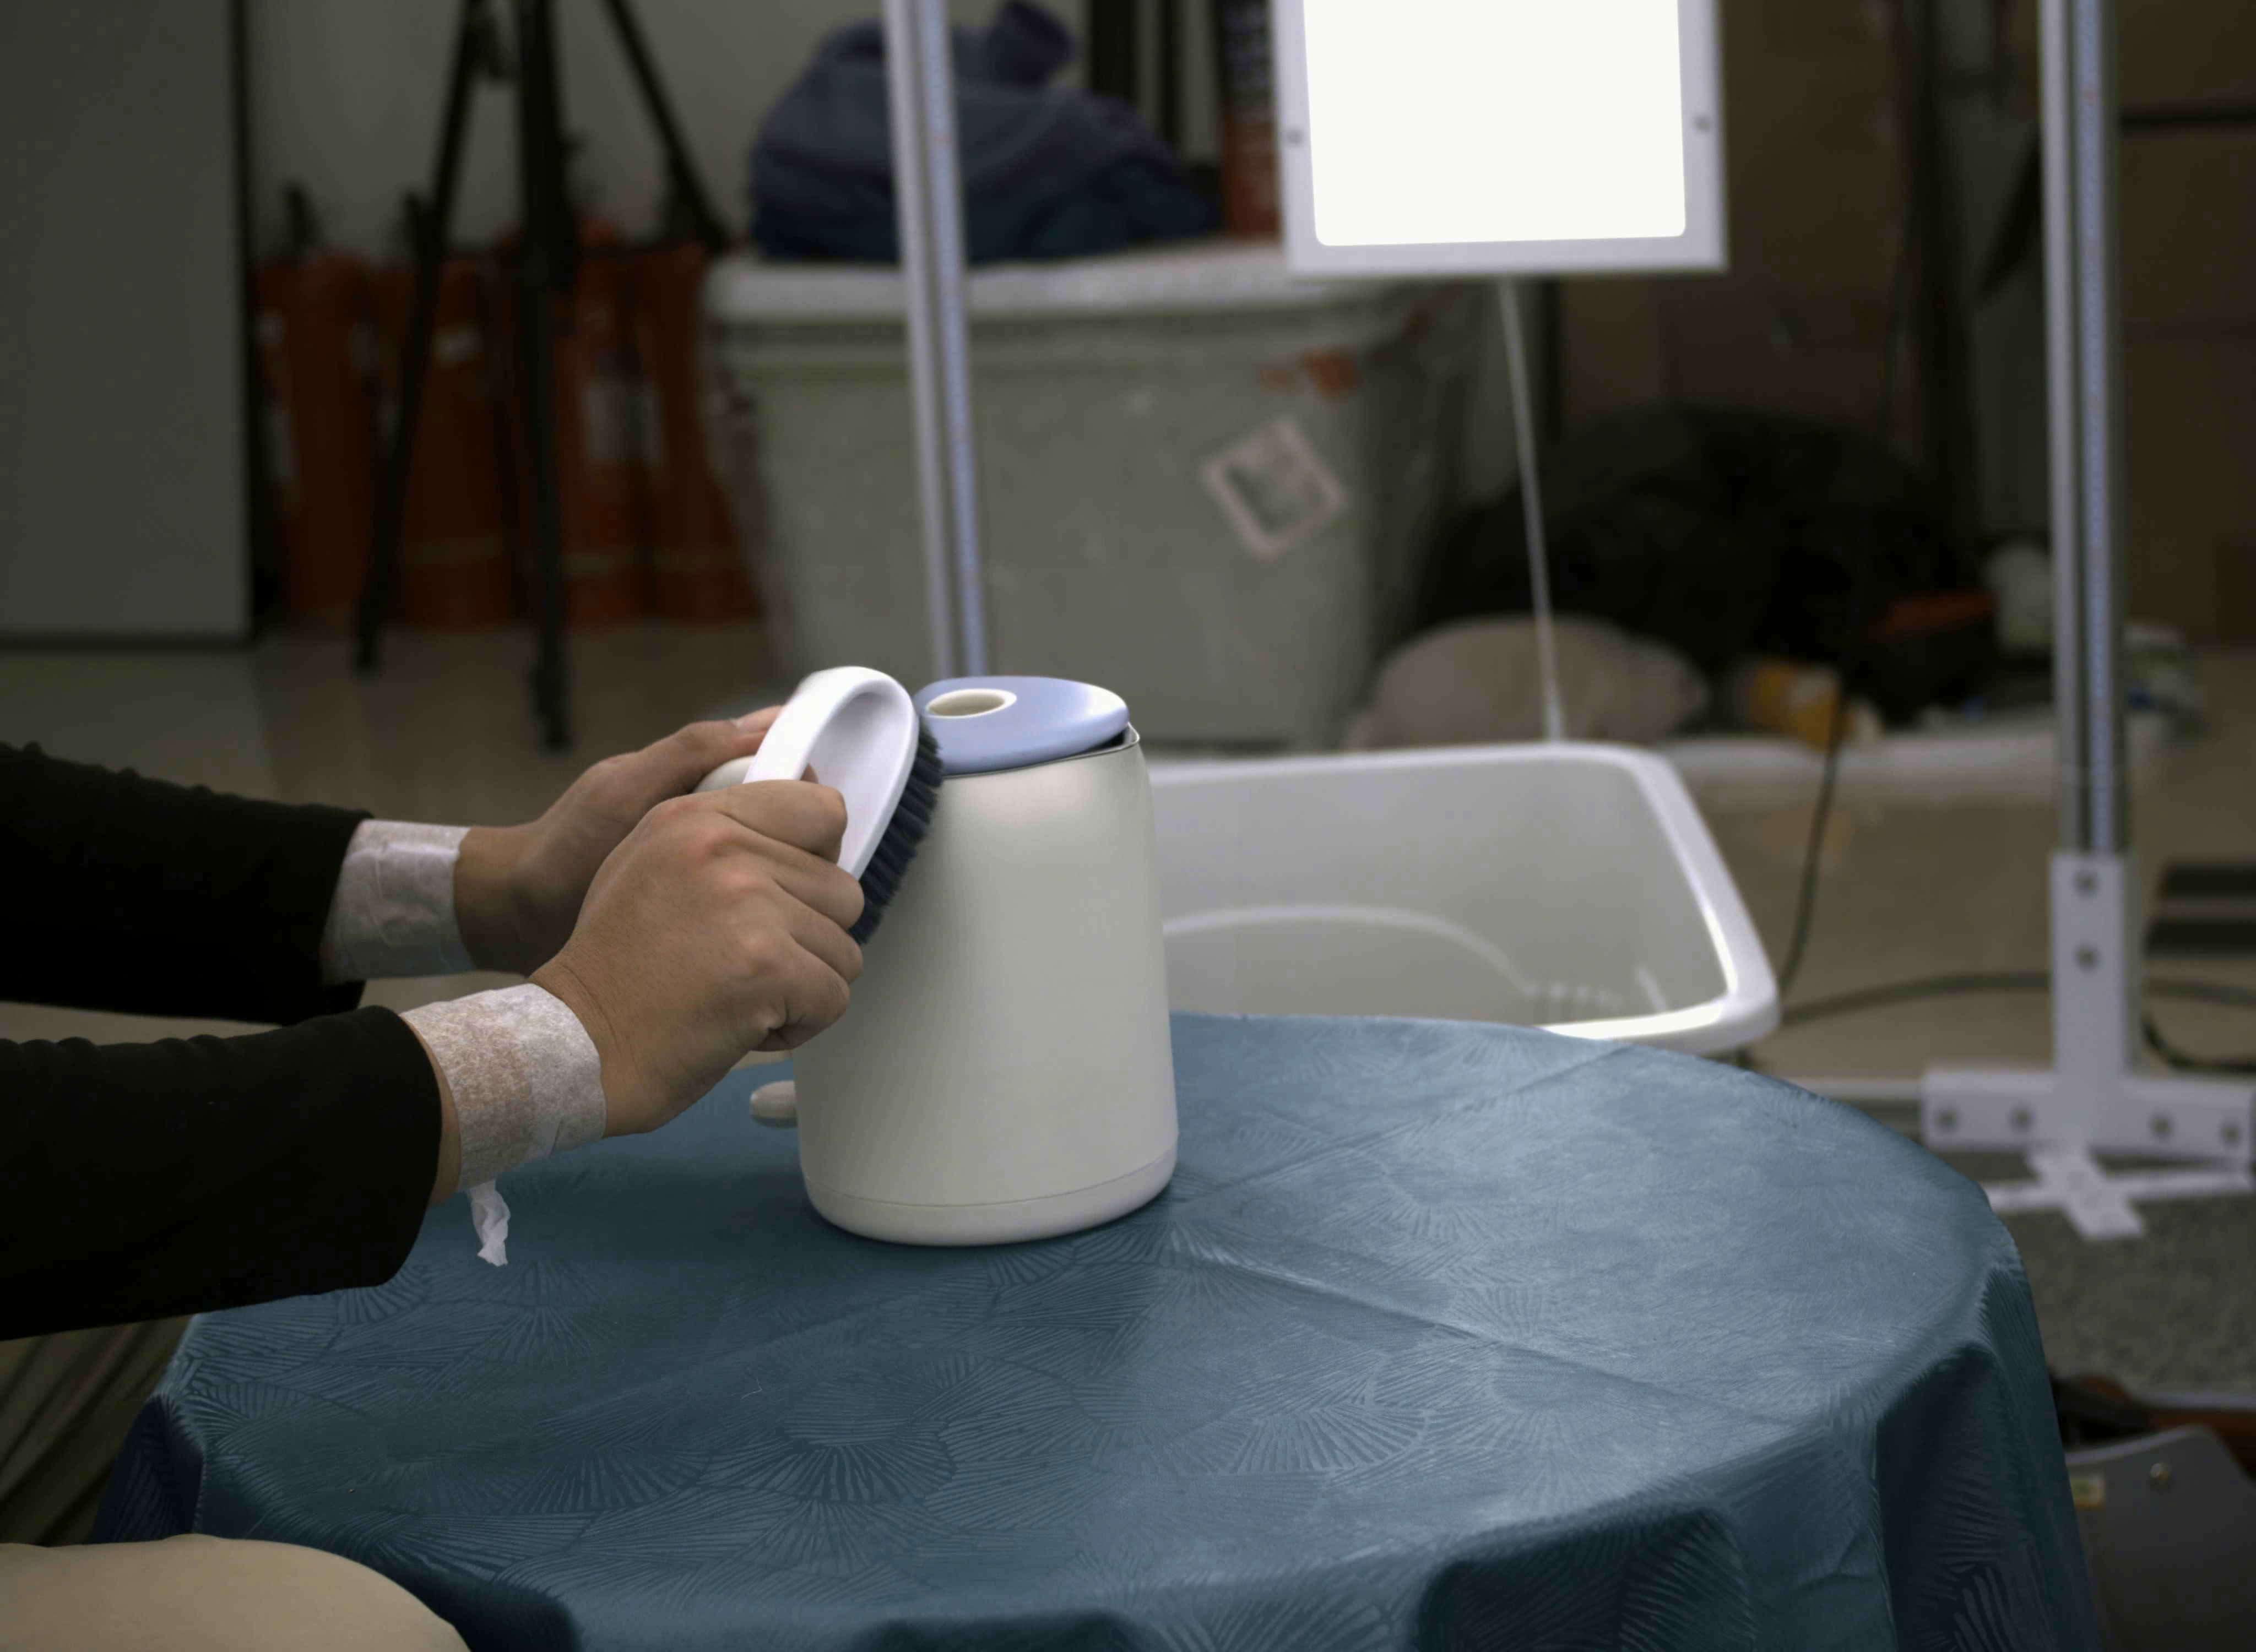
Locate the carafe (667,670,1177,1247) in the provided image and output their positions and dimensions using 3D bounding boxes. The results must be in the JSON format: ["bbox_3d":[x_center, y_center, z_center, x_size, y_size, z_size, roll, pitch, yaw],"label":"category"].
[{"bbox_3d":[-0.075,0.044,1.902,0.194,0.183,0.129,1,15,28],"label":"carafe"}]

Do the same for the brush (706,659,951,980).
[{"bbox_3d":[-0.101,-0.008,1.766,0.051,0.098,0.072,24,-16,24],"label":"brush"}]
